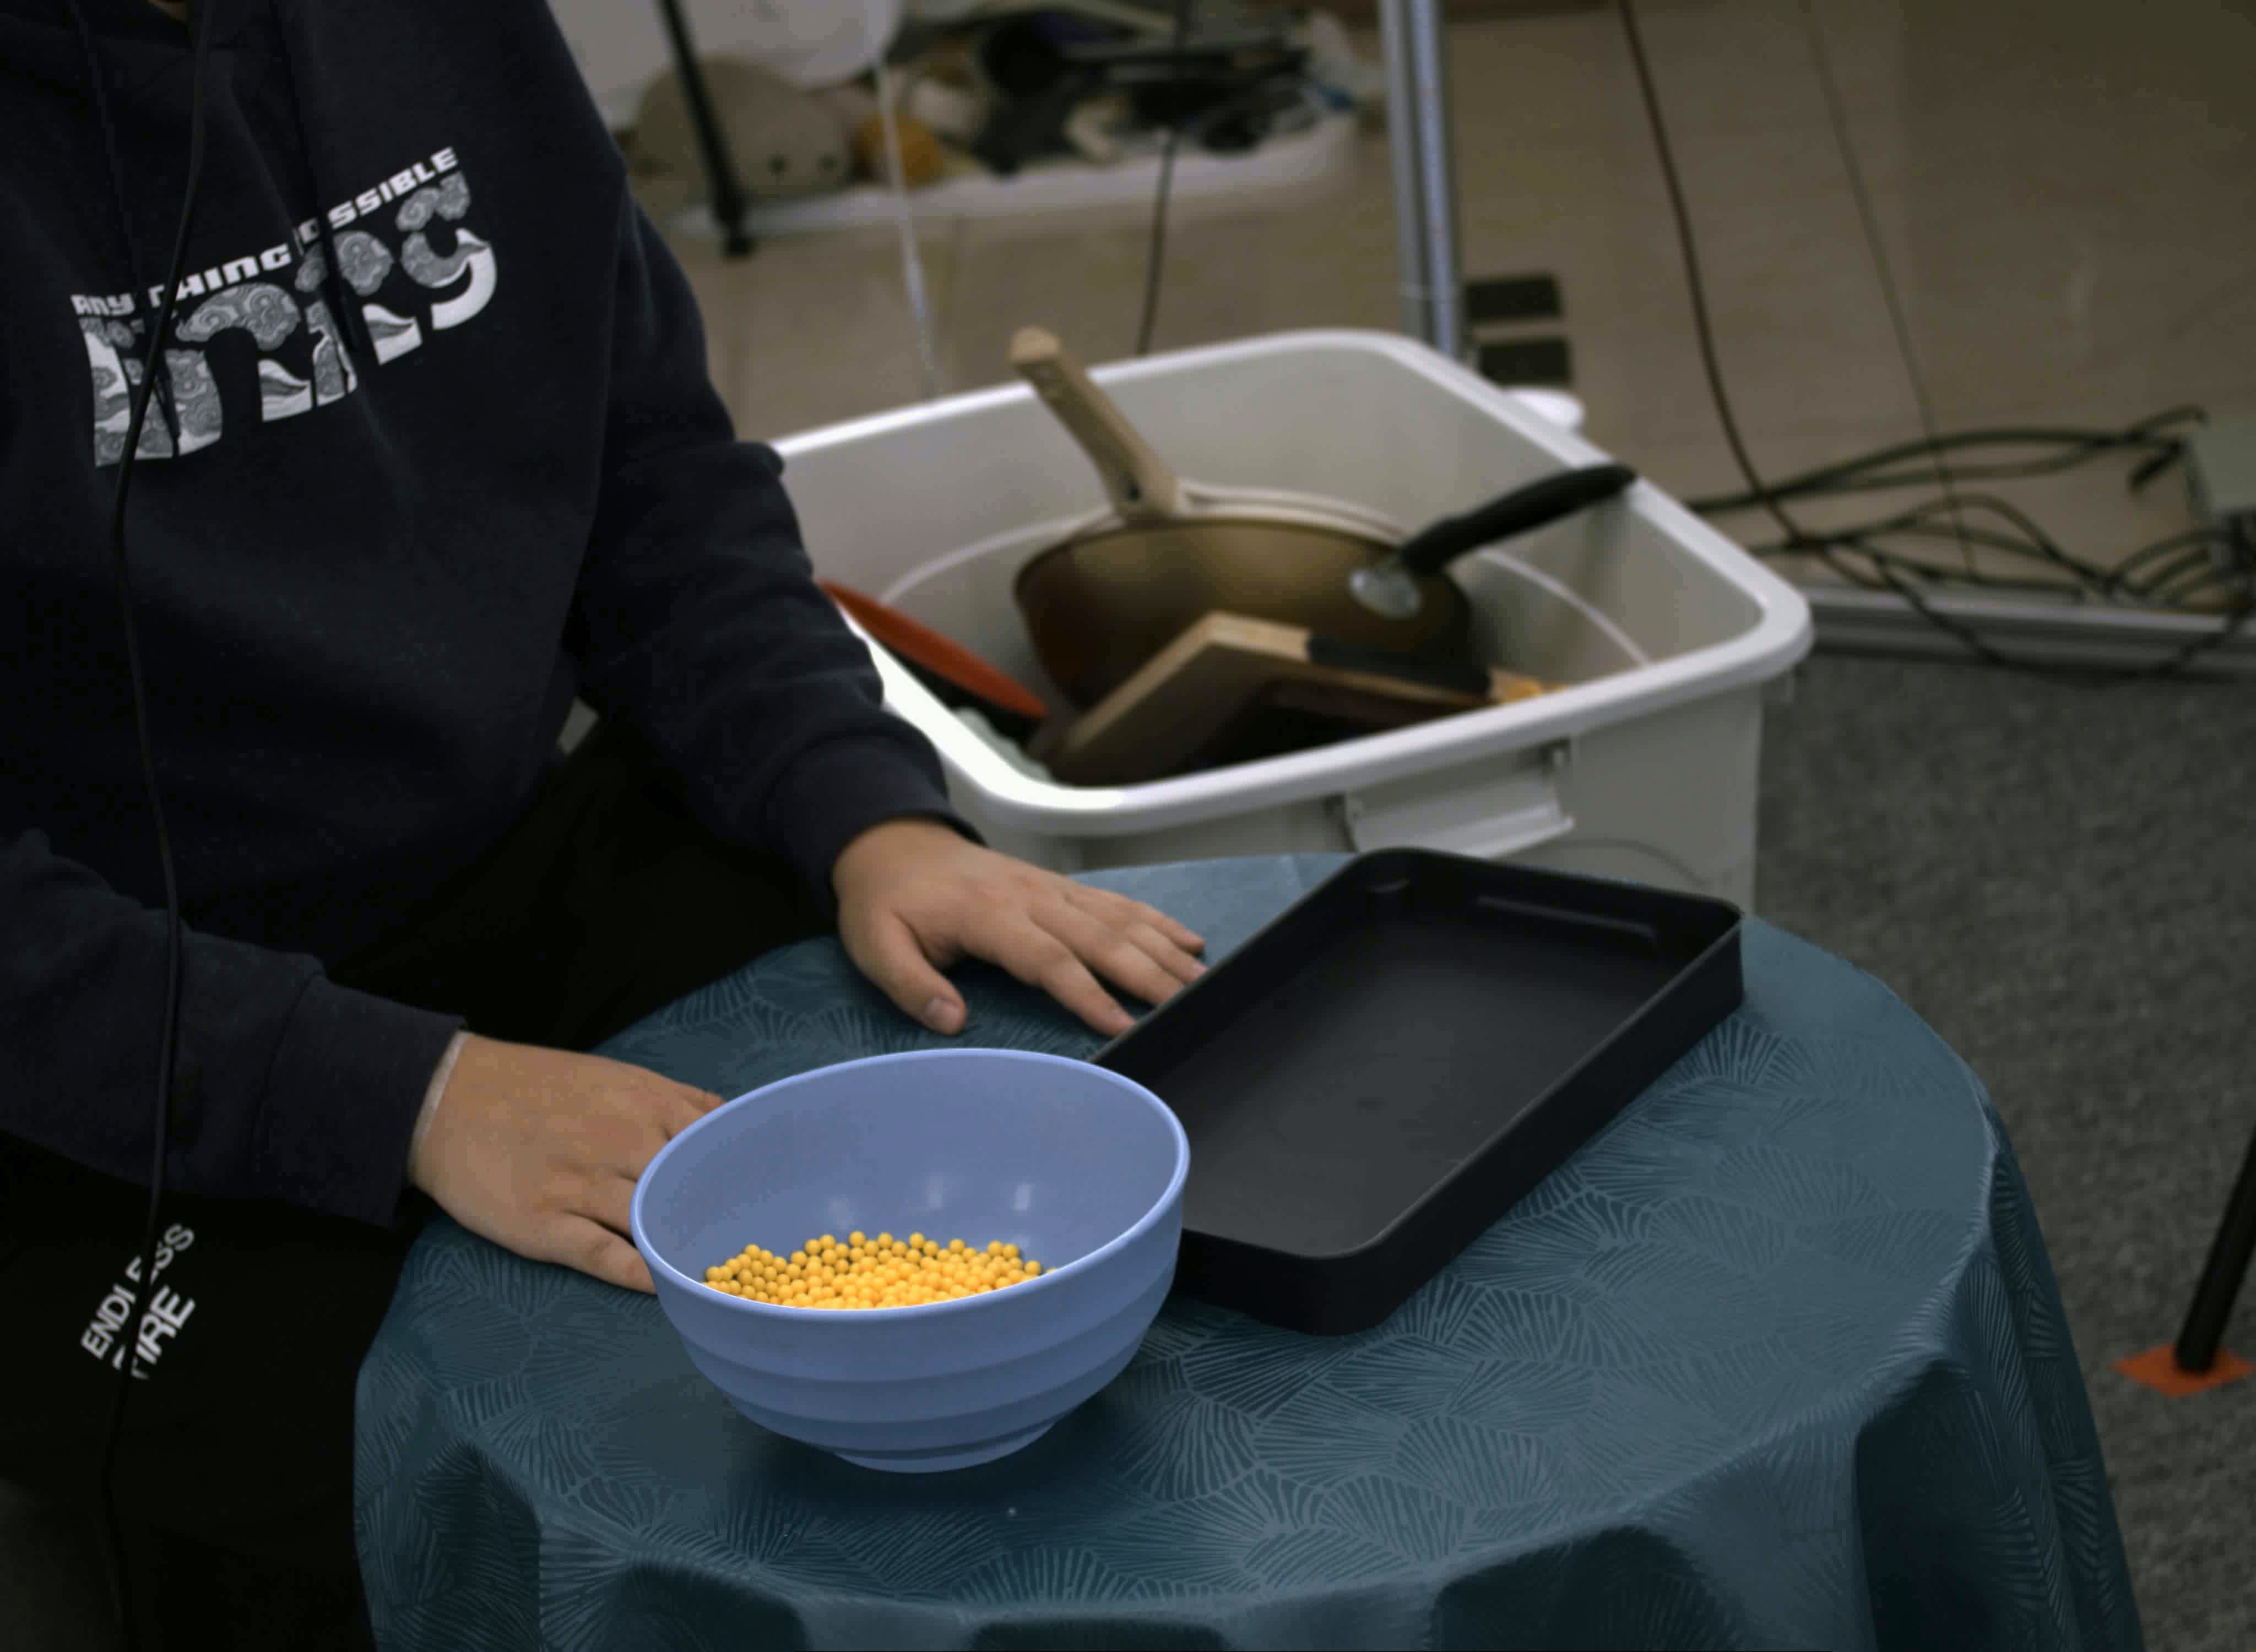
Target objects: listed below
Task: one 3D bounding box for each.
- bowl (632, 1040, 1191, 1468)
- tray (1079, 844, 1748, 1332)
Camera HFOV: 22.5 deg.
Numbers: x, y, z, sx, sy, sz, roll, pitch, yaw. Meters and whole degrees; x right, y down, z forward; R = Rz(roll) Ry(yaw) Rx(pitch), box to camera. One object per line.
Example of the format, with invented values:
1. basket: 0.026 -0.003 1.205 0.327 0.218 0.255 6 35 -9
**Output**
1. bowl: -0.072 0.162 1.996 0.196 0.097 0.193 -4 26 2
2. tray: 0.091 0.094 2.177 0.183 0.037 0.314 11 29 33
